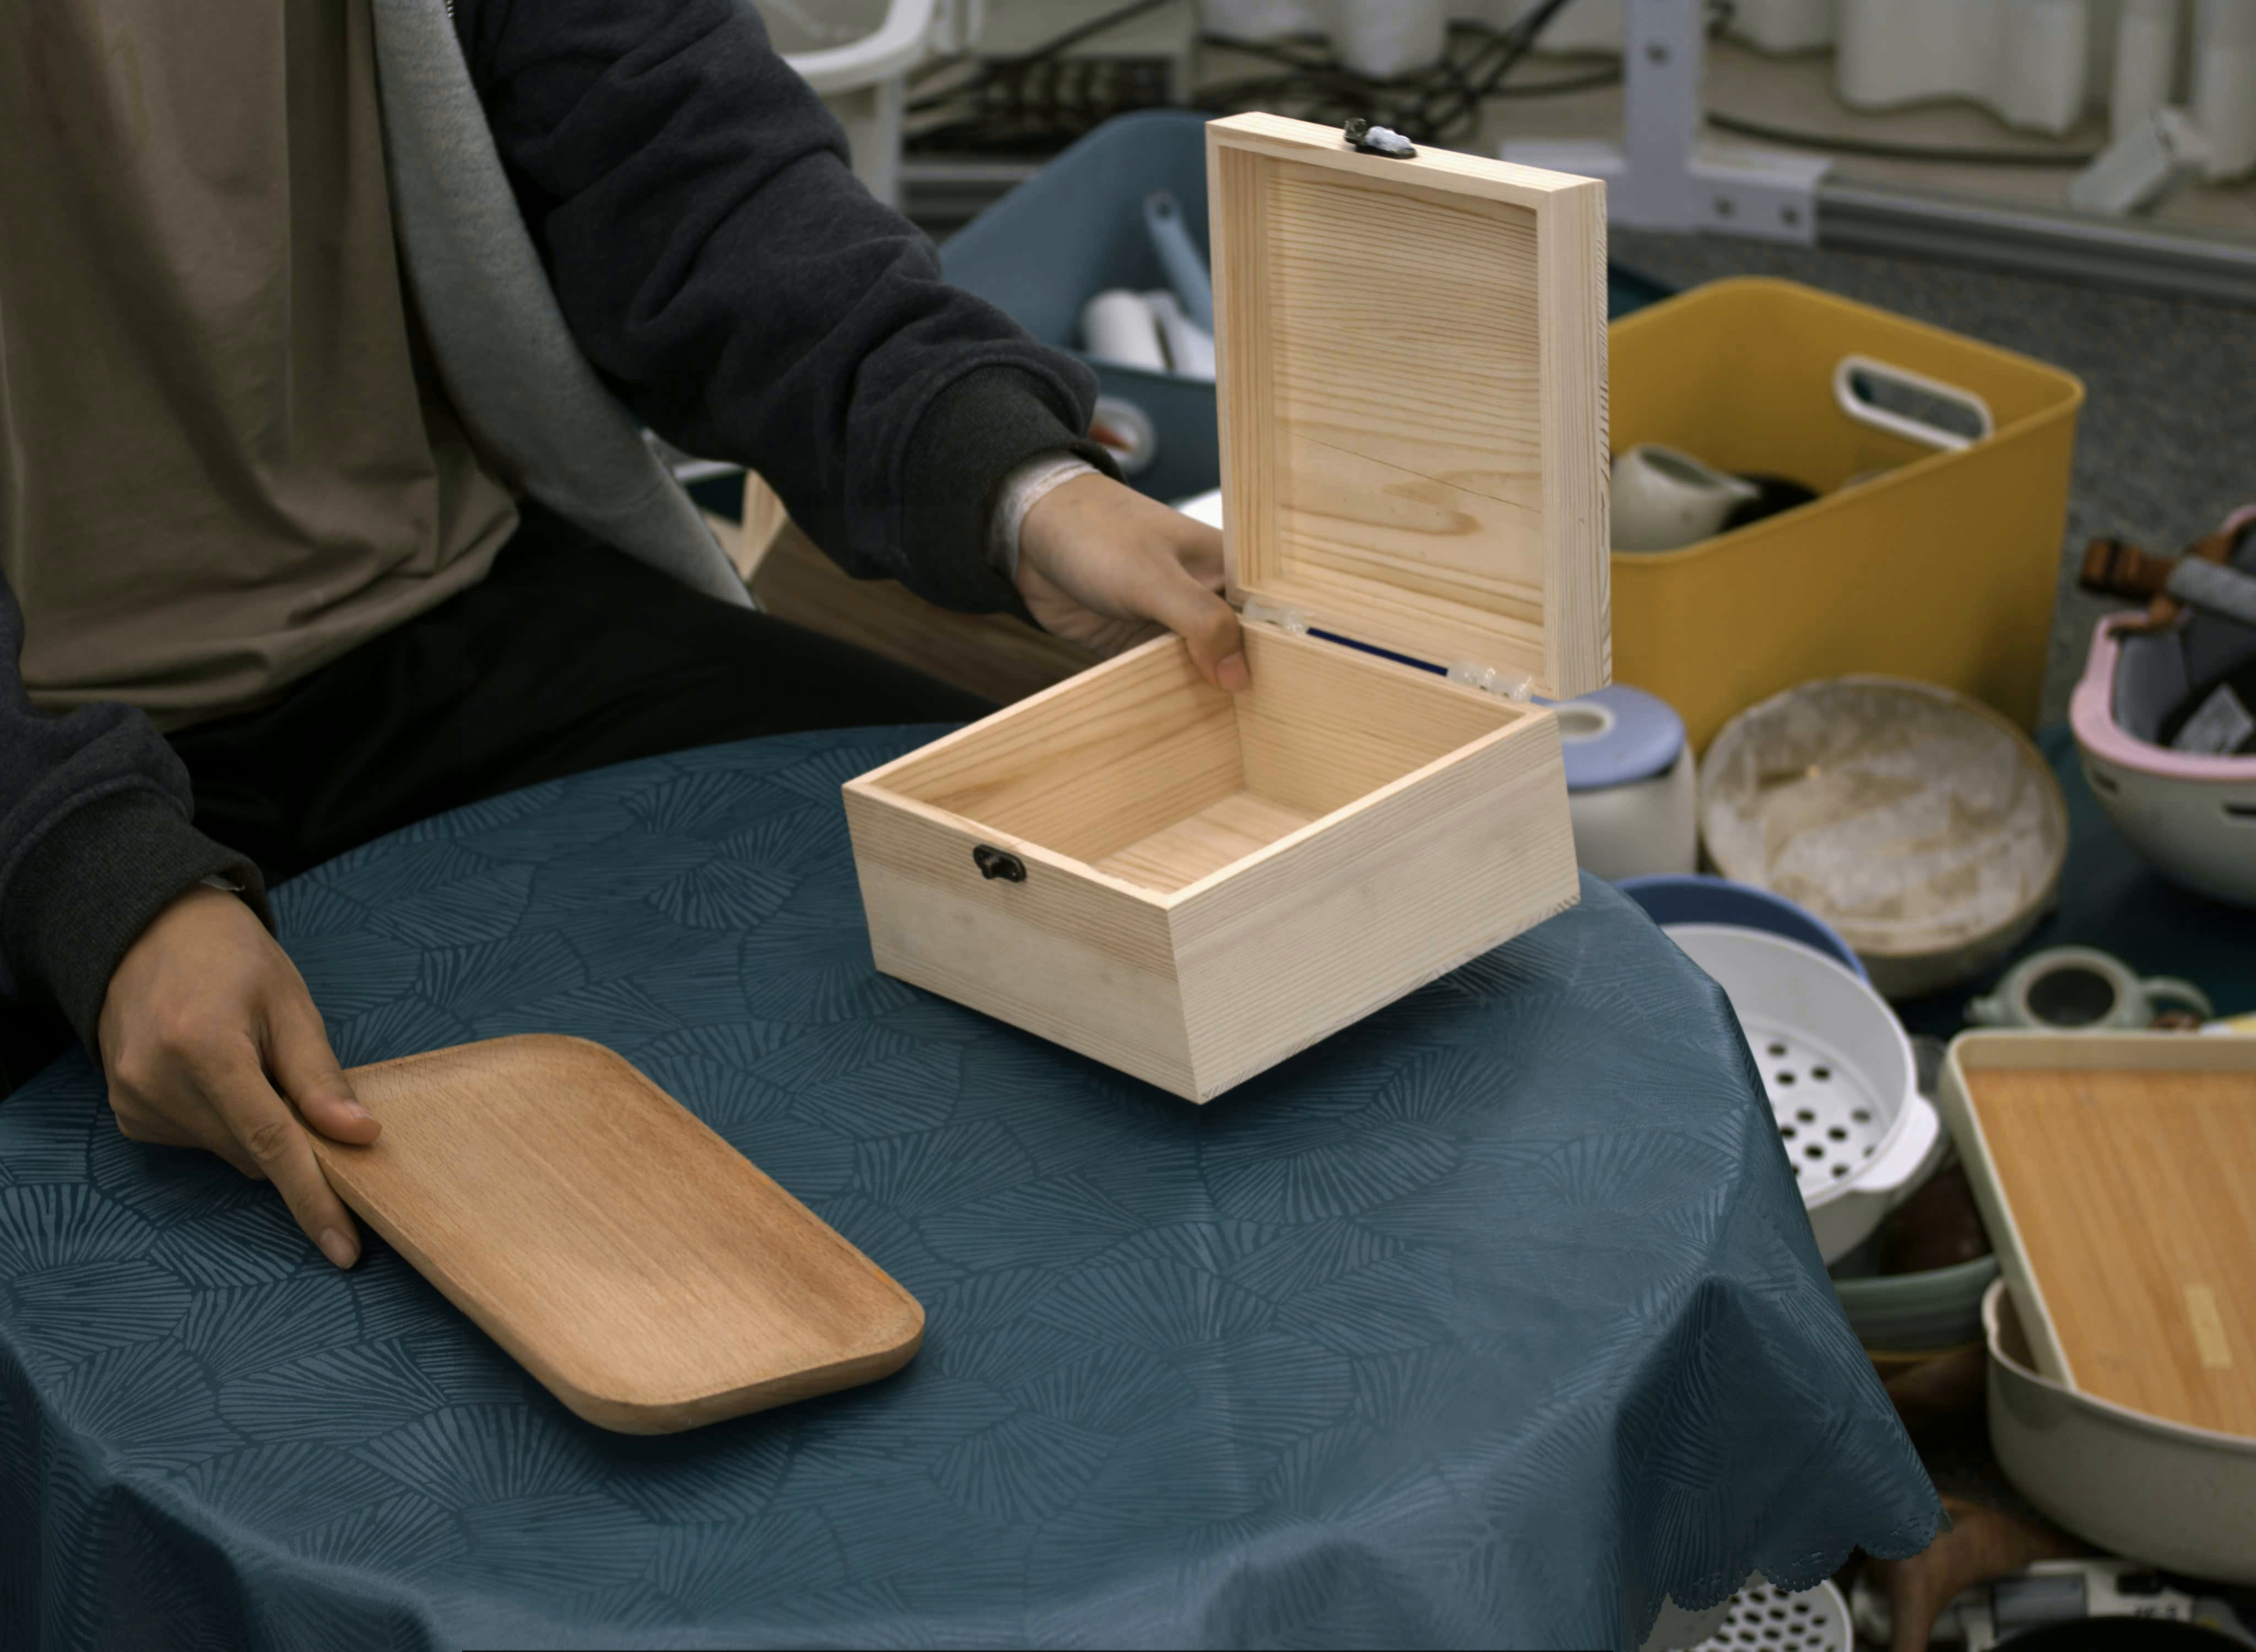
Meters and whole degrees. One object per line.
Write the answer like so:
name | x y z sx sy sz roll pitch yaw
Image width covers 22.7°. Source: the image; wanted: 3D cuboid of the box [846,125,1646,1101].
box | 0.042 -0.084 1.964 0.268 0.251 0.181 -25 25 -35

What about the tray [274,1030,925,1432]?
tray | -0.175 0.129 1.827 0.131 0.022 0.251 -7 25 -33
